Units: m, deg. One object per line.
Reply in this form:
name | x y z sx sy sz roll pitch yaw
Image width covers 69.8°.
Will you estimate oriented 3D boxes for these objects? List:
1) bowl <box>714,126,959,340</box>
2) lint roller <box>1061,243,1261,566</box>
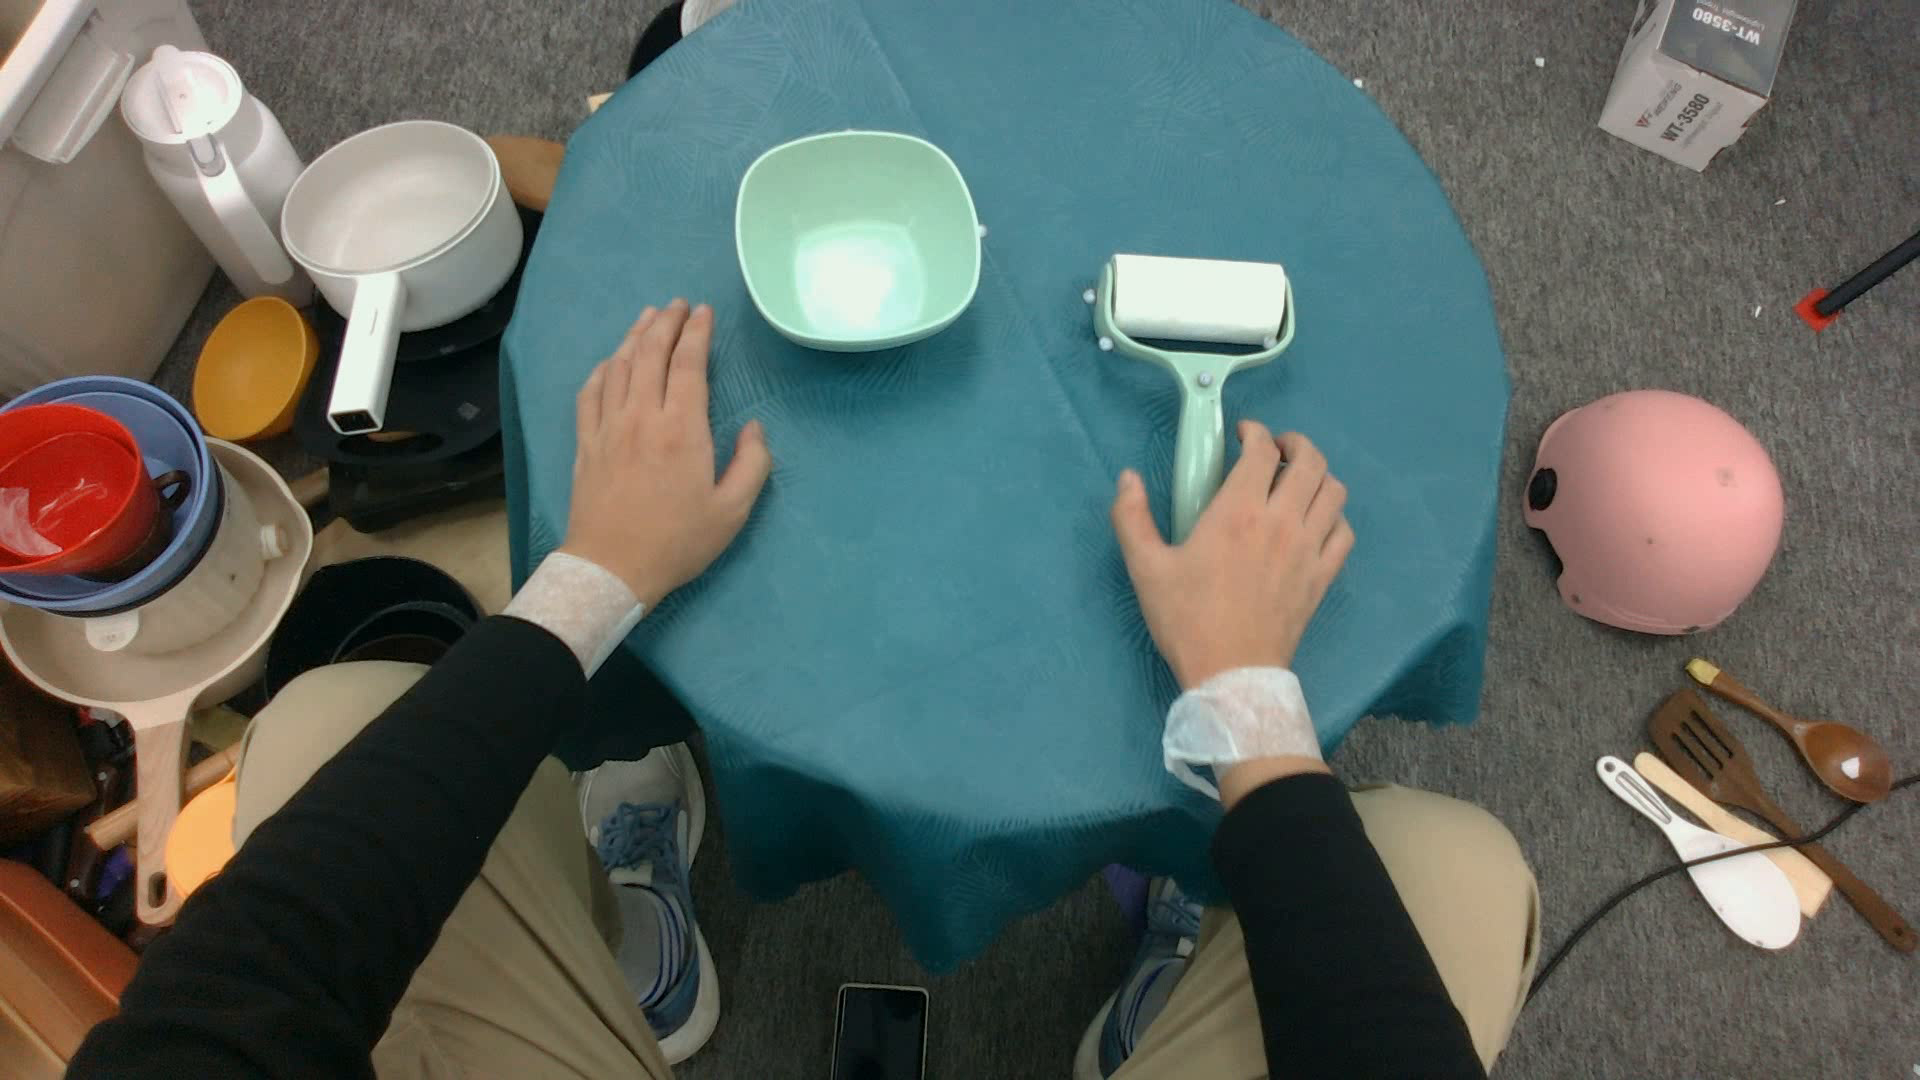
bowl | -0.073 -0.170 0.810 0.151 0.058 0.152 2 67 -6
lint roller | 0.119 -0.083 0.803 0.117 0.048 0.198 3 70 -7
